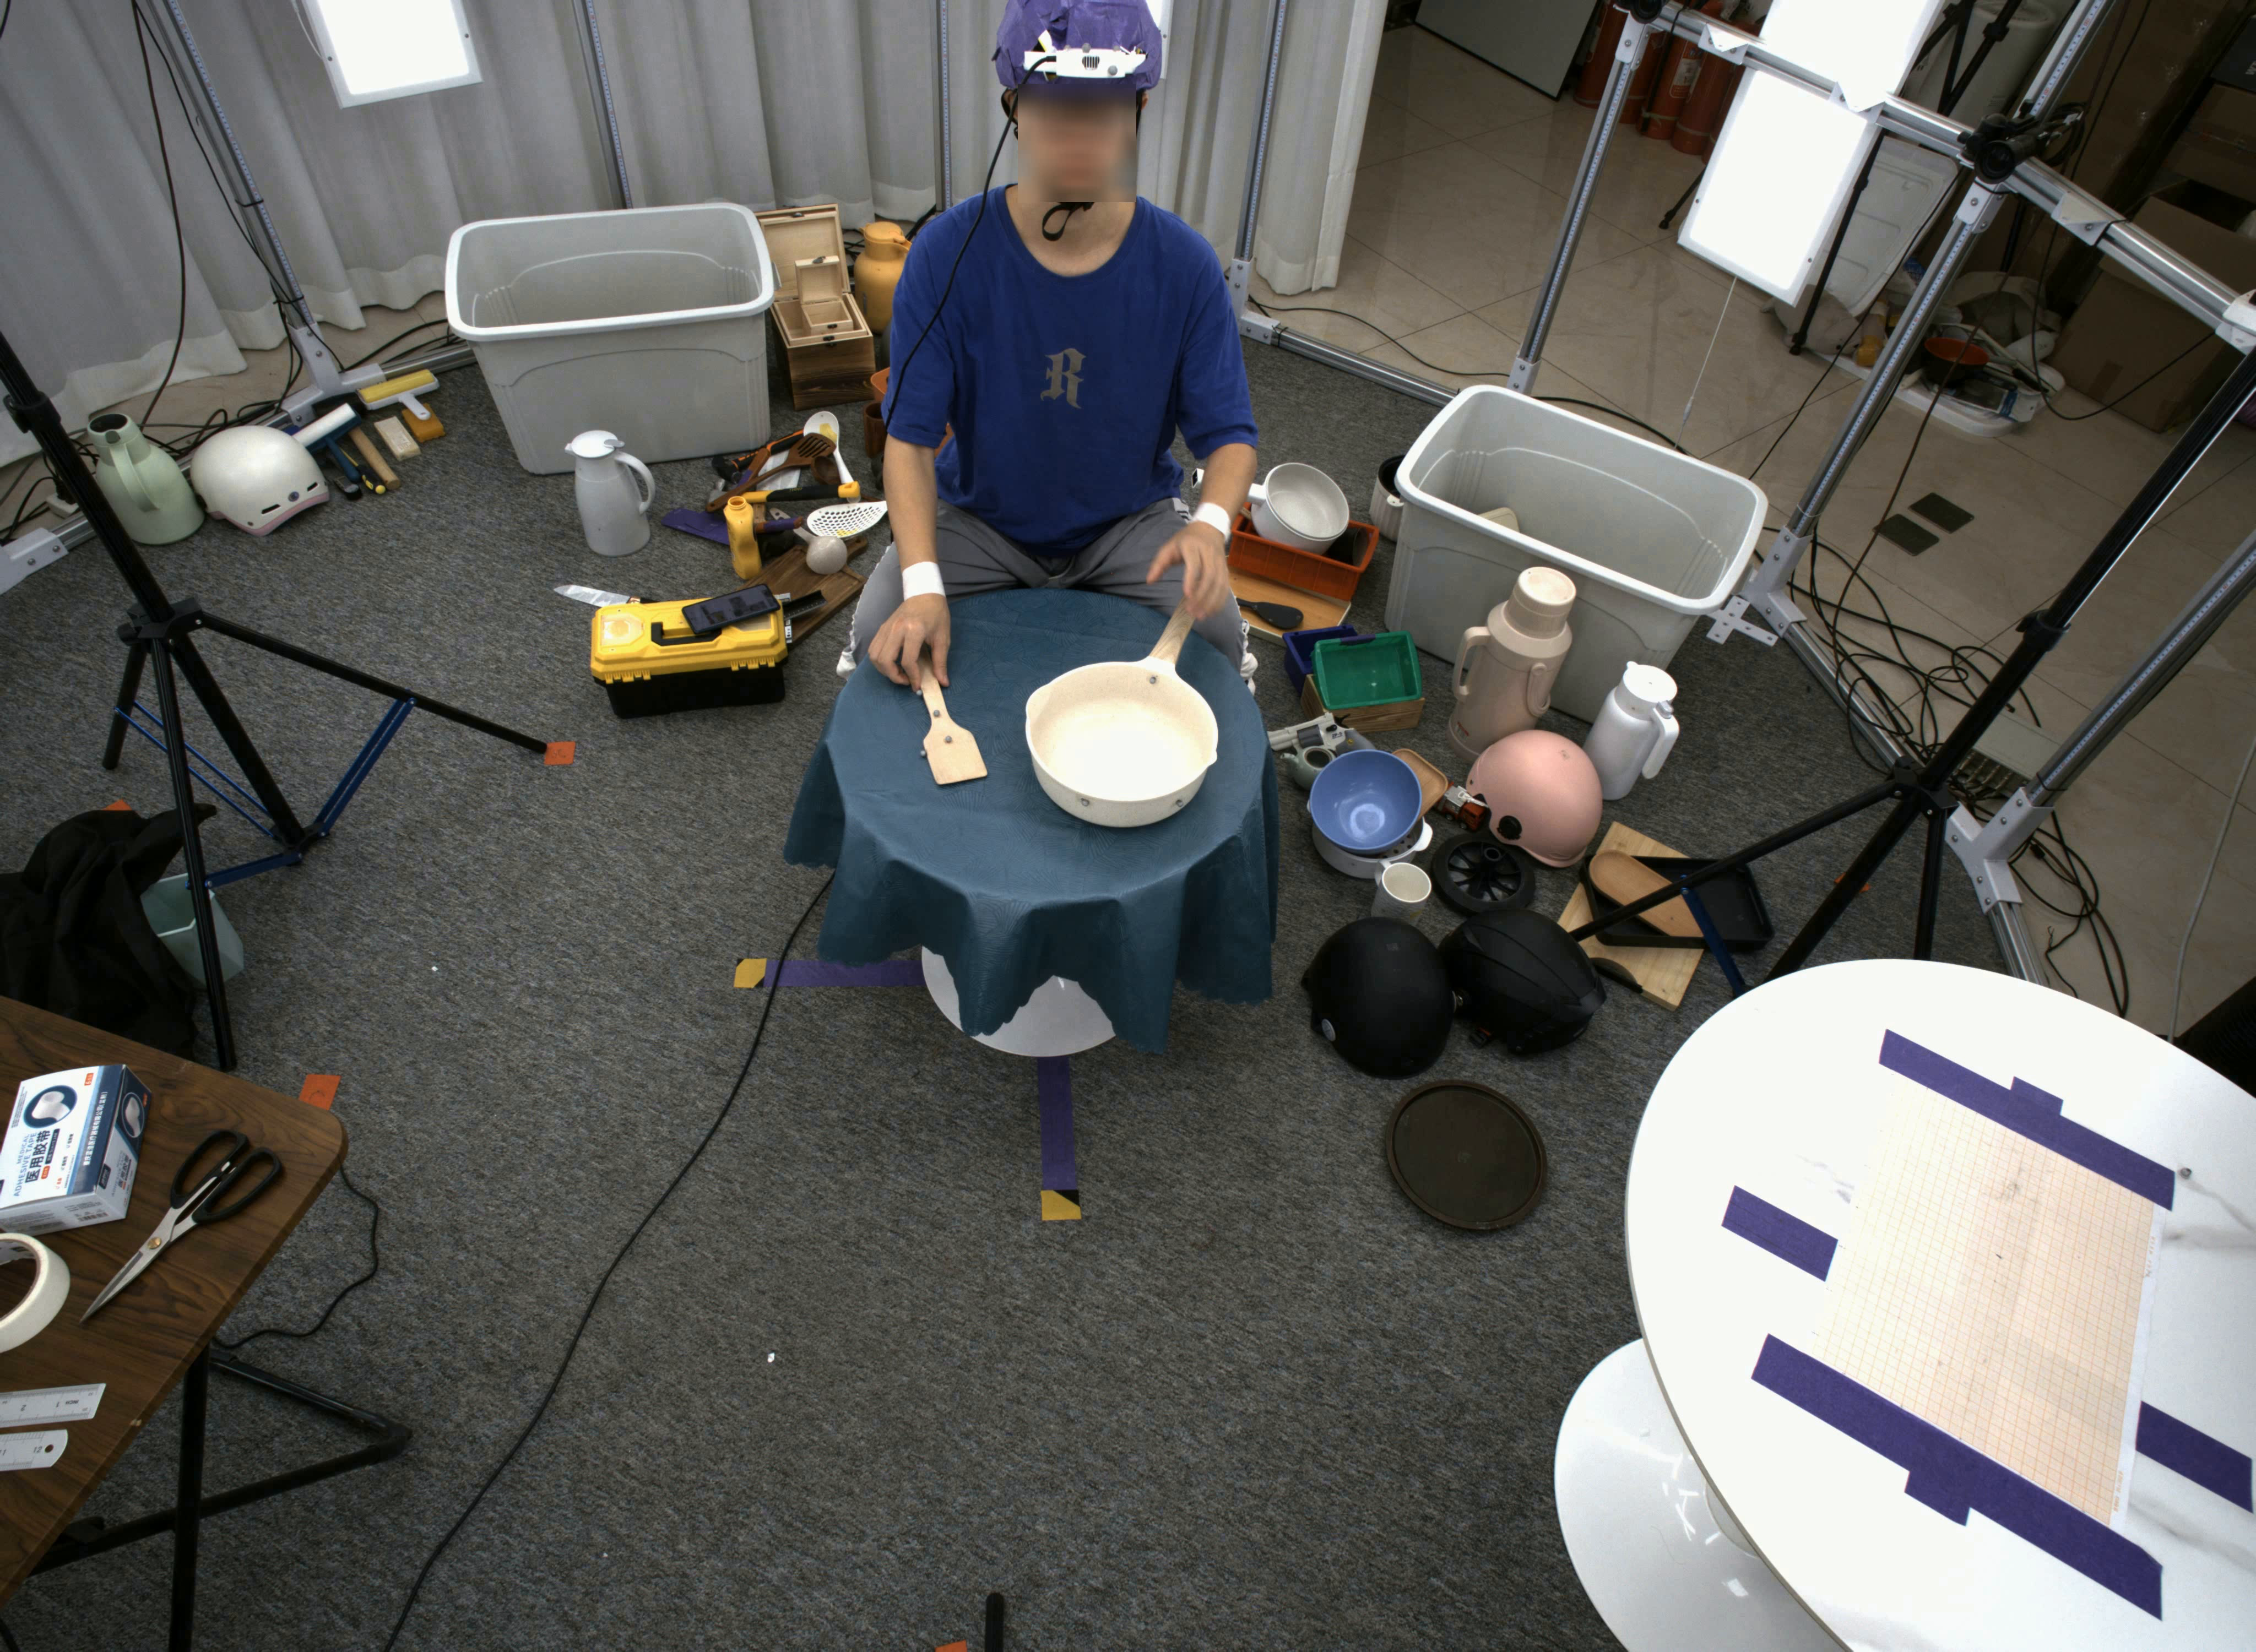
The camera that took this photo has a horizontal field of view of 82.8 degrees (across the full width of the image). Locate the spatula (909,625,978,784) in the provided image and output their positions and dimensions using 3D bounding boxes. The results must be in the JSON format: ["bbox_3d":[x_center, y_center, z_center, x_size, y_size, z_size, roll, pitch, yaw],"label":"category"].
[{"bbox_3d":[-0.271,-0.175,1.796,0.072,0.010,0.300,-10,54,-12],"label":"spatula"}]

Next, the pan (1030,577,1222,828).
[{"bbox_3d":[0.029,-0.172,1.760,0.264,0.099,0.443,16,50,13],"label":"pan"}]
